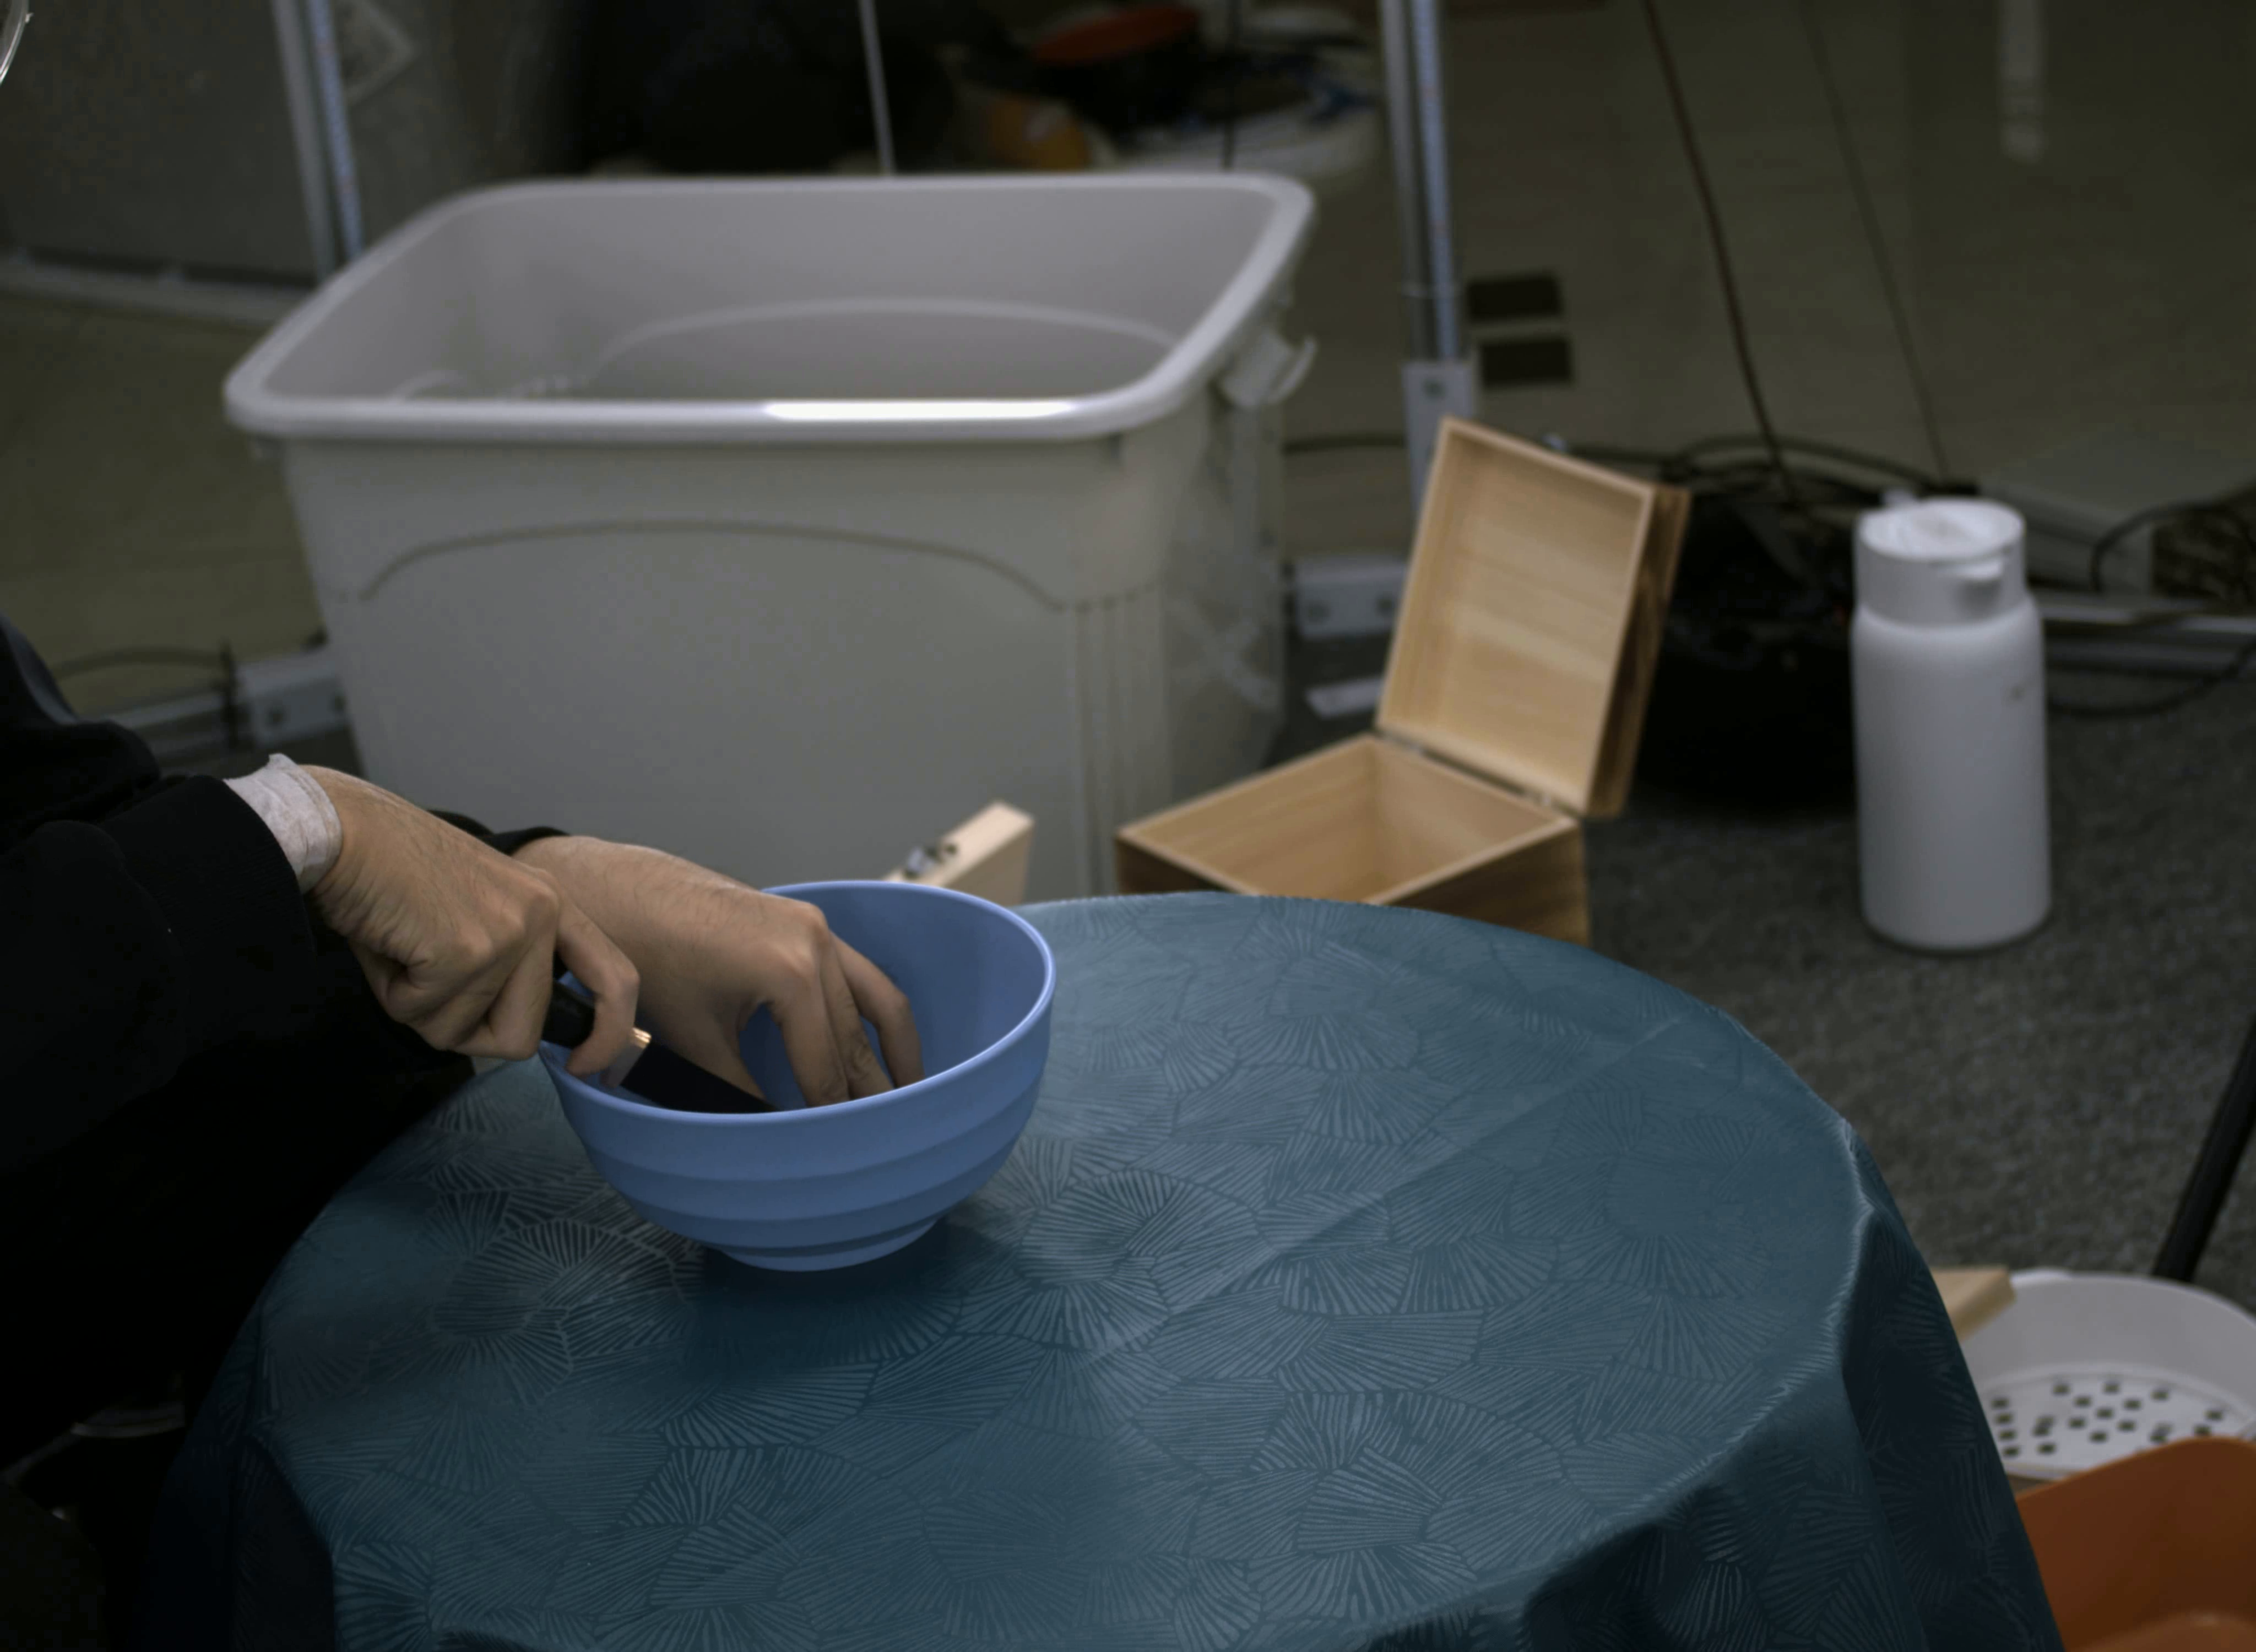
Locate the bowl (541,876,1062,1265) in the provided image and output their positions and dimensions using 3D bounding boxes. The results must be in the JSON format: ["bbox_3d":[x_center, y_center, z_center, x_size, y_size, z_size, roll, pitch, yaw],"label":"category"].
[{"bbox_3d":[-0.120,0.103,2.134,0.196,0.097,0.193,-3,25,1],"label":"bowl"}]

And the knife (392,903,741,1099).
[{"bbox_3d":[-0.180,0.089,2.093,0.227,0.026,0.017,33,8,-27],"label":"knife"}]
